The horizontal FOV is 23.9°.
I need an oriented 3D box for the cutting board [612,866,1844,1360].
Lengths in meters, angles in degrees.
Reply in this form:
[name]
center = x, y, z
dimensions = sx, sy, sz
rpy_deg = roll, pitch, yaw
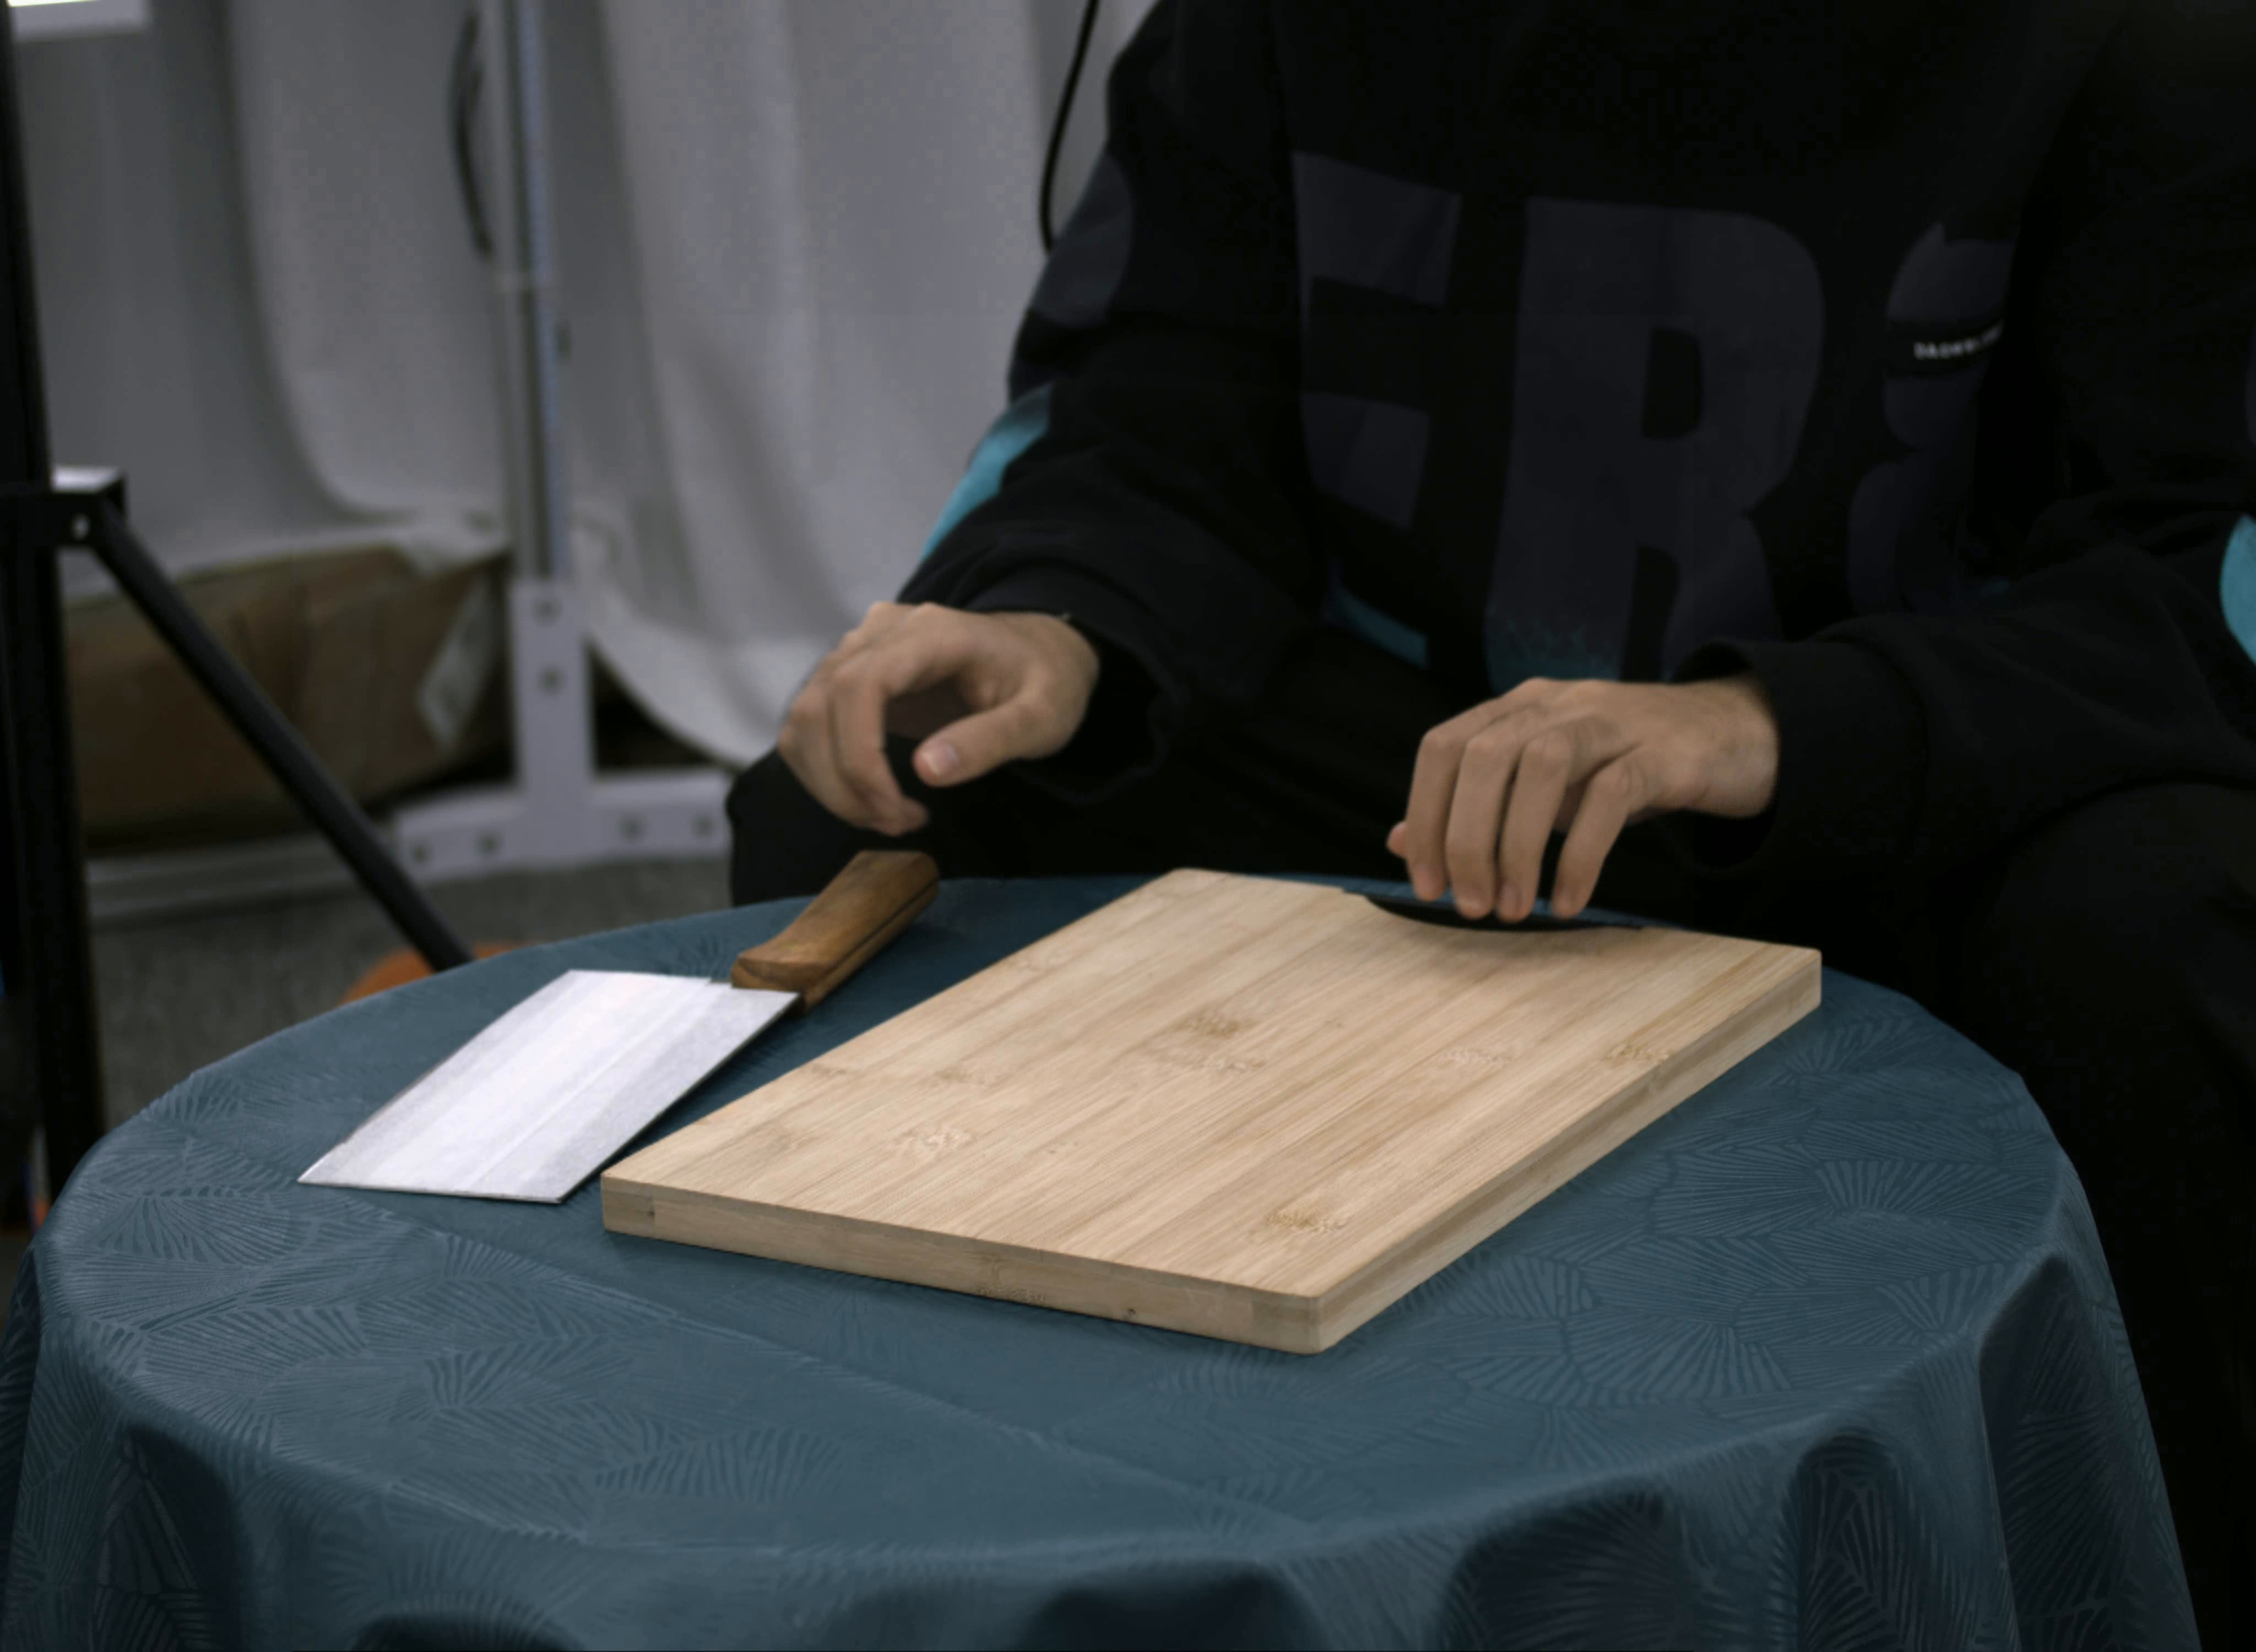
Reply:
[cutting board]
center = 0.038, 0.079, 1.624
dimensions = 0.255, 0.023, 0.342
rpy_deg = 7, 19, 30

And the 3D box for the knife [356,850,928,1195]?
[knife]
center = -0.155, 0.062, 1.720
dimensions = 0.094, 0.021, 0.302
rpy_deg = 2, 18, 21
